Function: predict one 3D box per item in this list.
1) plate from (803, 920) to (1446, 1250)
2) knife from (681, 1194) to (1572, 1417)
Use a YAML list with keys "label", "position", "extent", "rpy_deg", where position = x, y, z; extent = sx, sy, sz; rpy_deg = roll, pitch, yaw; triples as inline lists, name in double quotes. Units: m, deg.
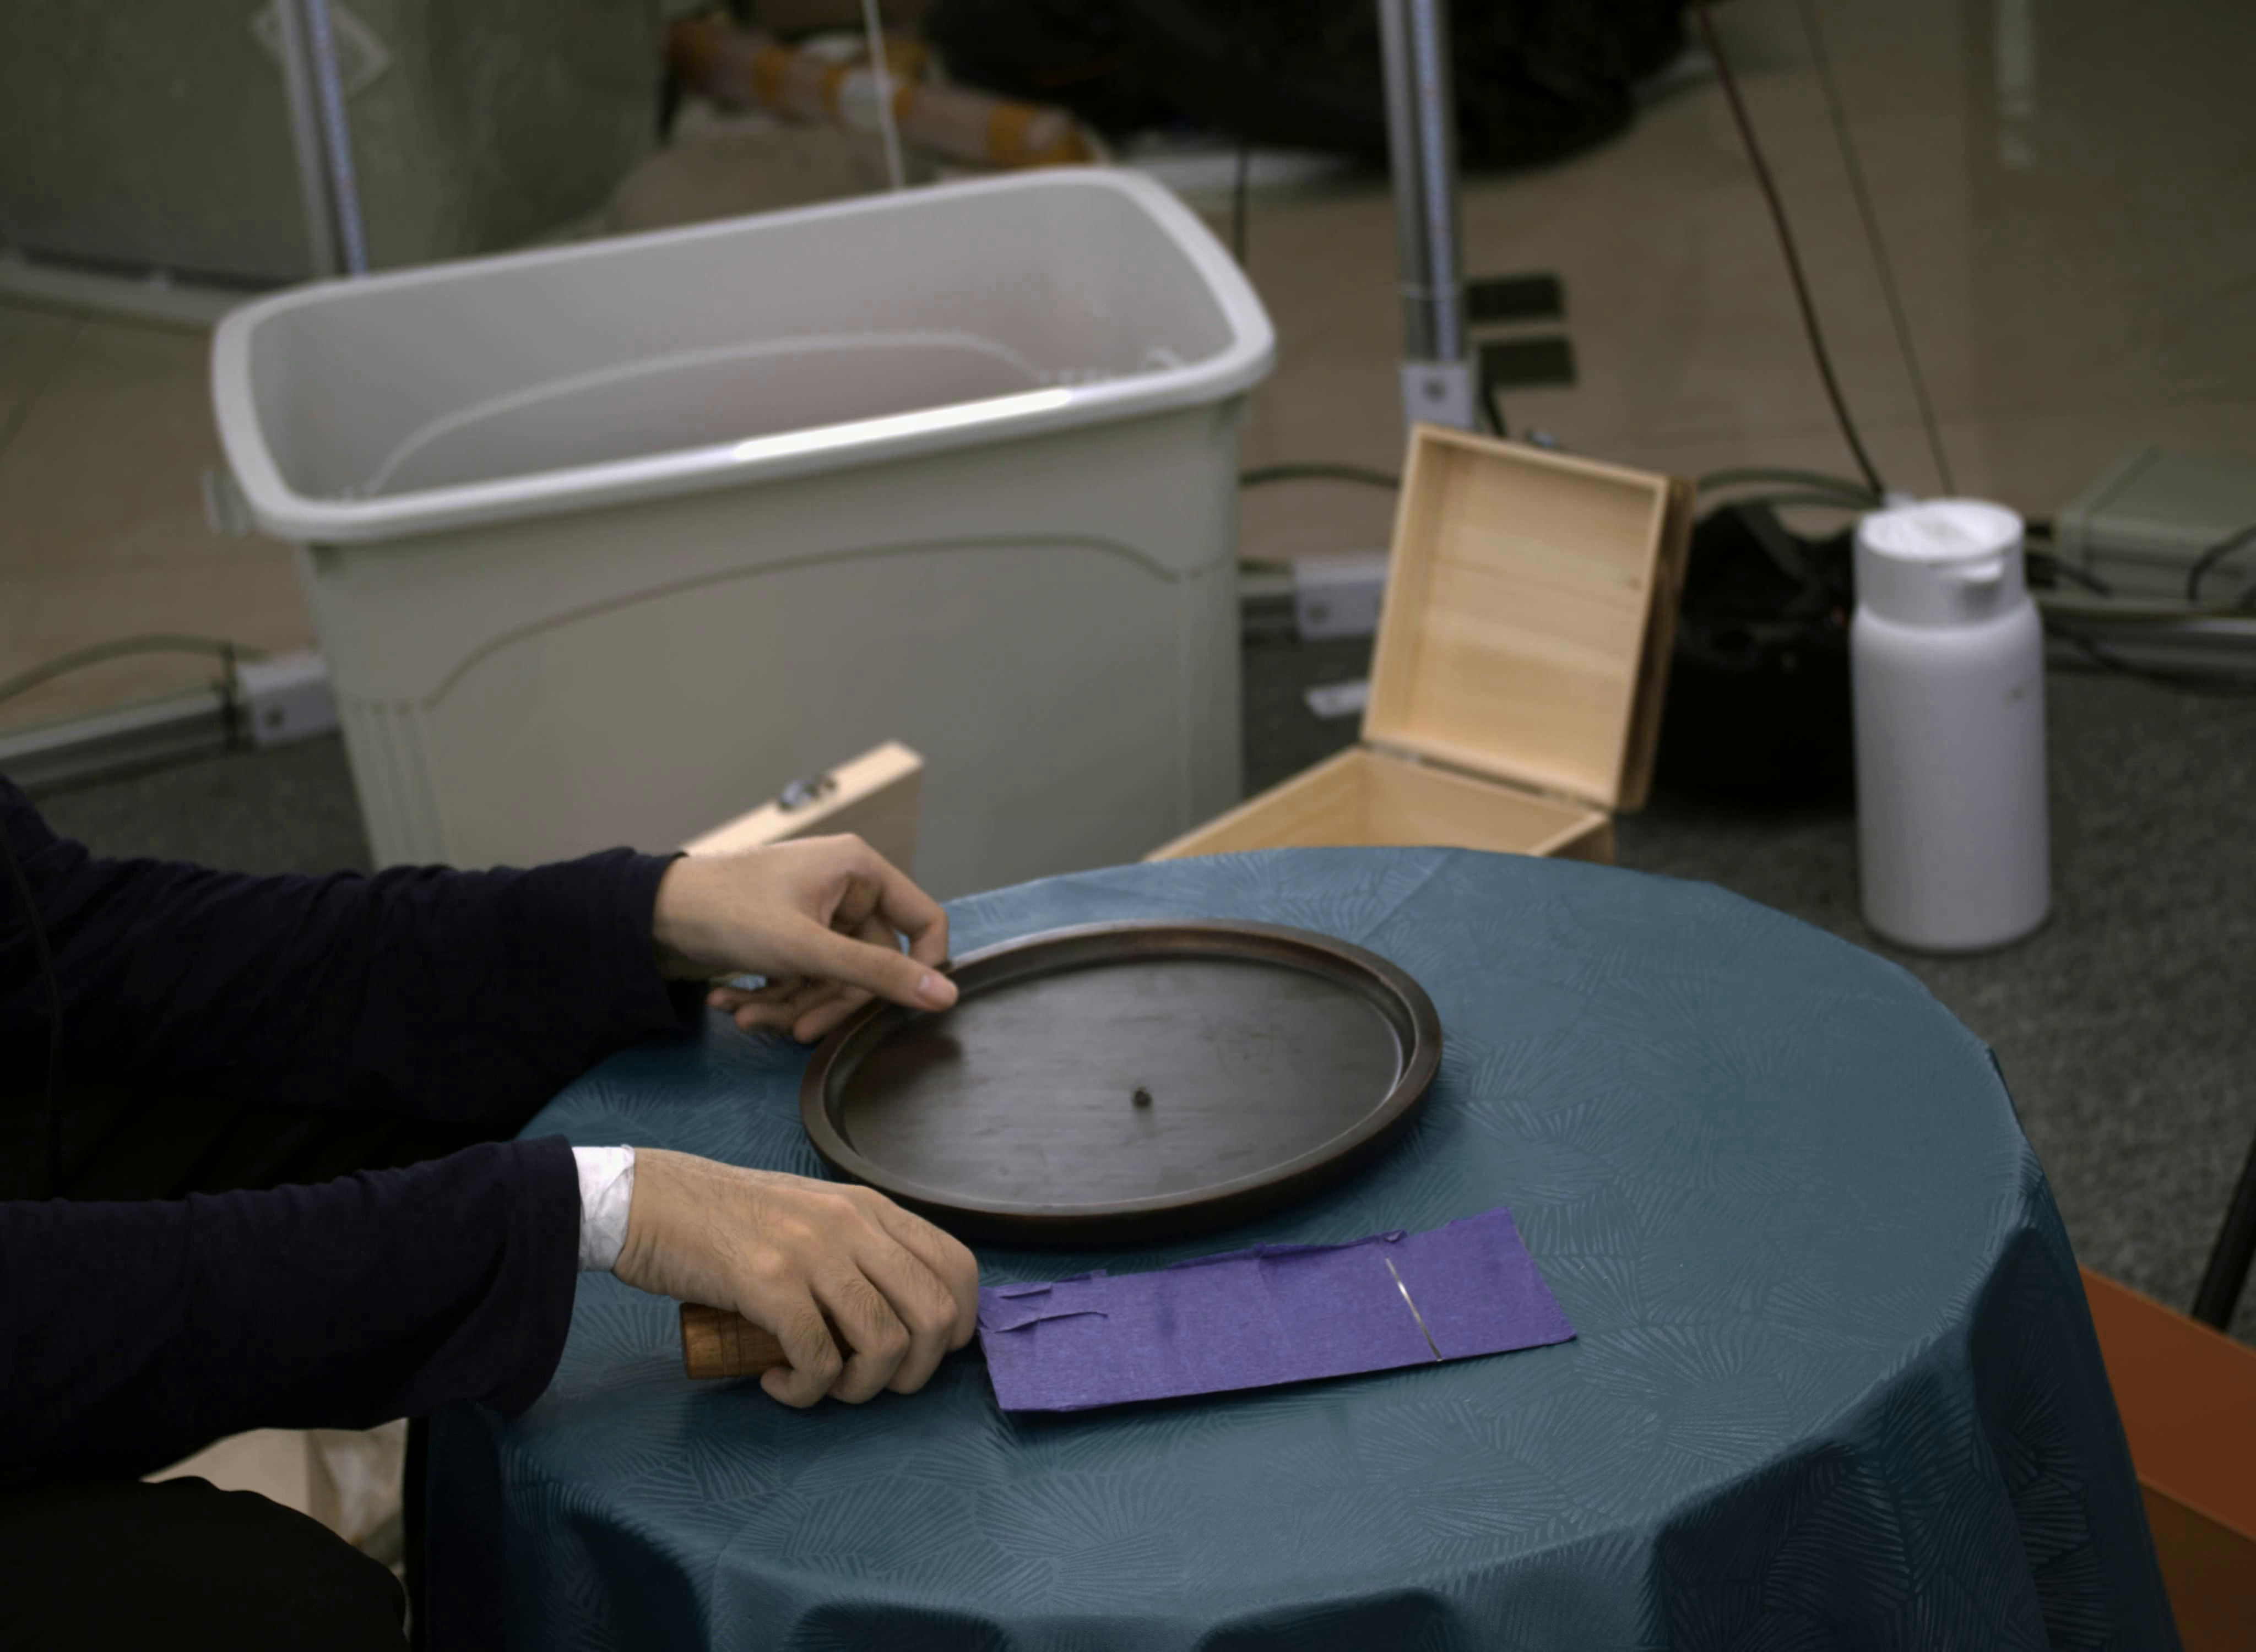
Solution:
- label: "plate"
  position: [-0.001, 0.099, 2.209]
  extent: [0.254, 0.029, 0.251]
  rpy_deg: [-5, 25, 2]
- label: "knife"
  position: [-0.001, 0.178, 2.035]
  extent: [0.314, 0.033, 0.102]
  rpy_deg: [-9, 25, -7]
